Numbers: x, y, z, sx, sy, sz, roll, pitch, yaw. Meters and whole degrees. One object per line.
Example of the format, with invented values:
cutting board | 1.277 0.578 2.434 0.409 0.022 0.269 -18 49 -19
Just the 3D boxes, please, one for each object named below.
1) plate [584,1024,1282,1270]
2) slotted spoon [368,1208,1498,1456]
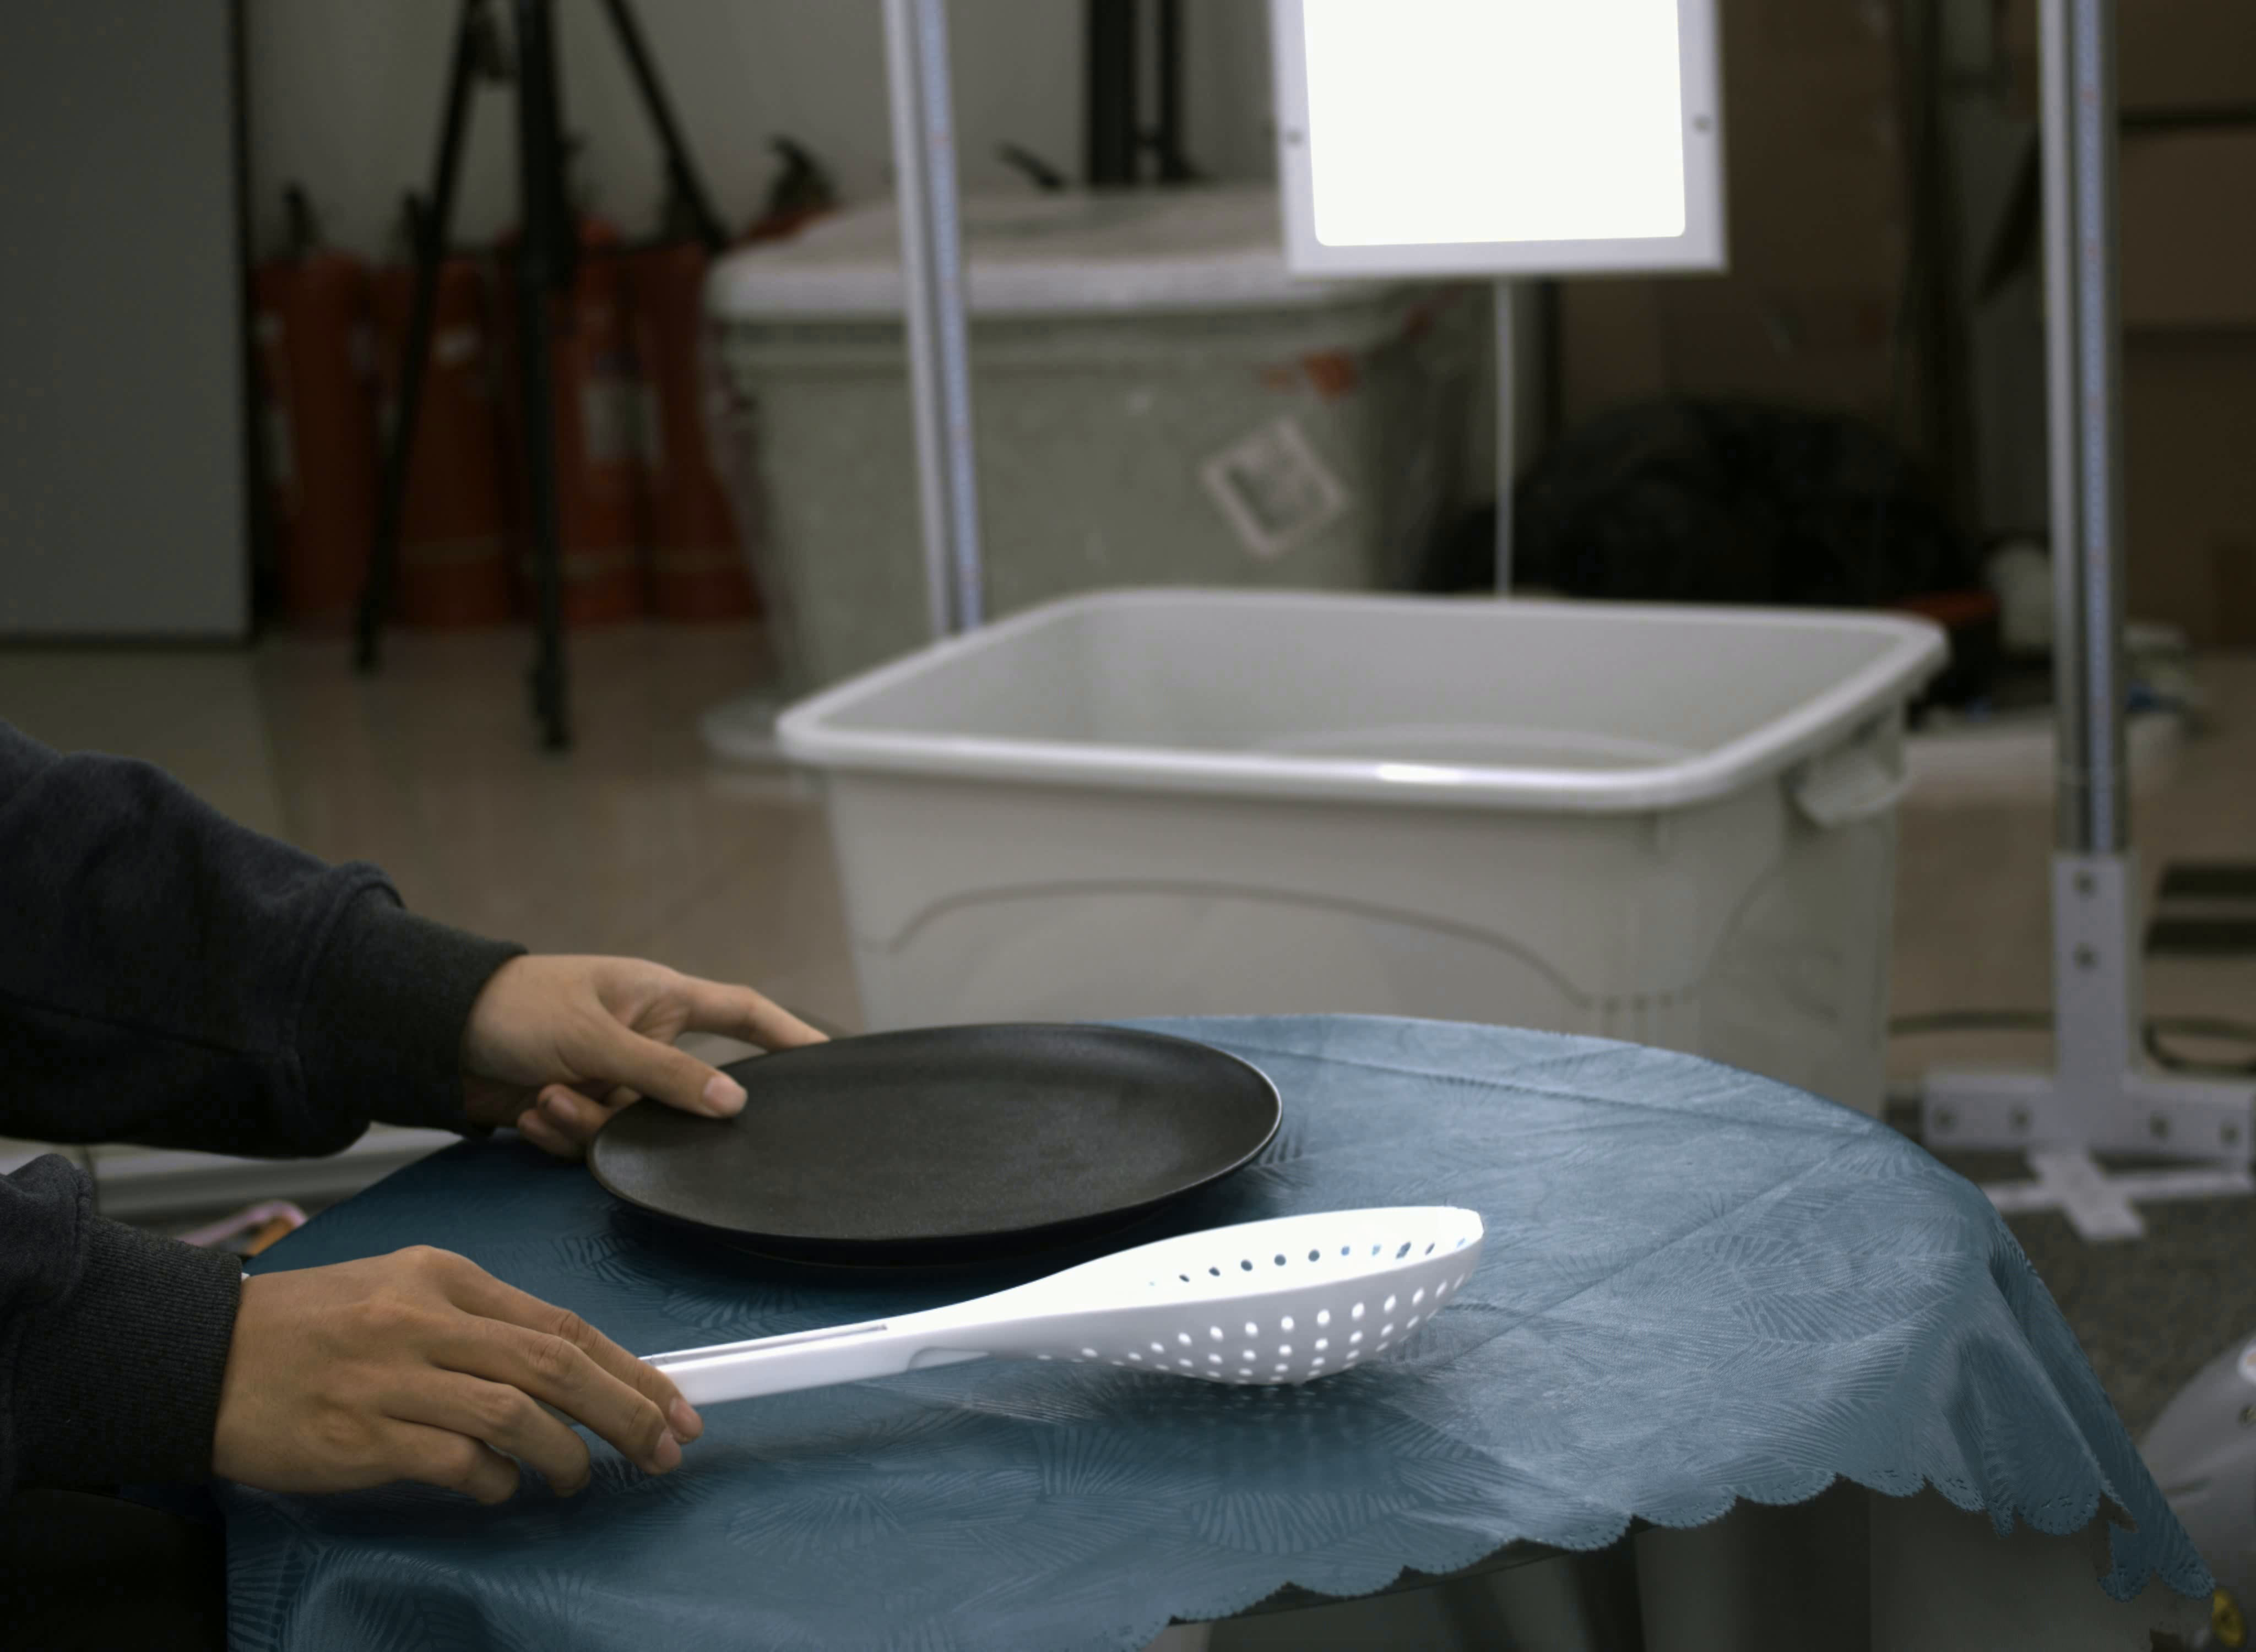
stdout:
plate | -0.067 0.114 1.917 0.244 0.023 0.244 -4 14 0
slotted spoon | -0.057 0.154 1.678 0.346 0.046 0.137 -4 1 -7
